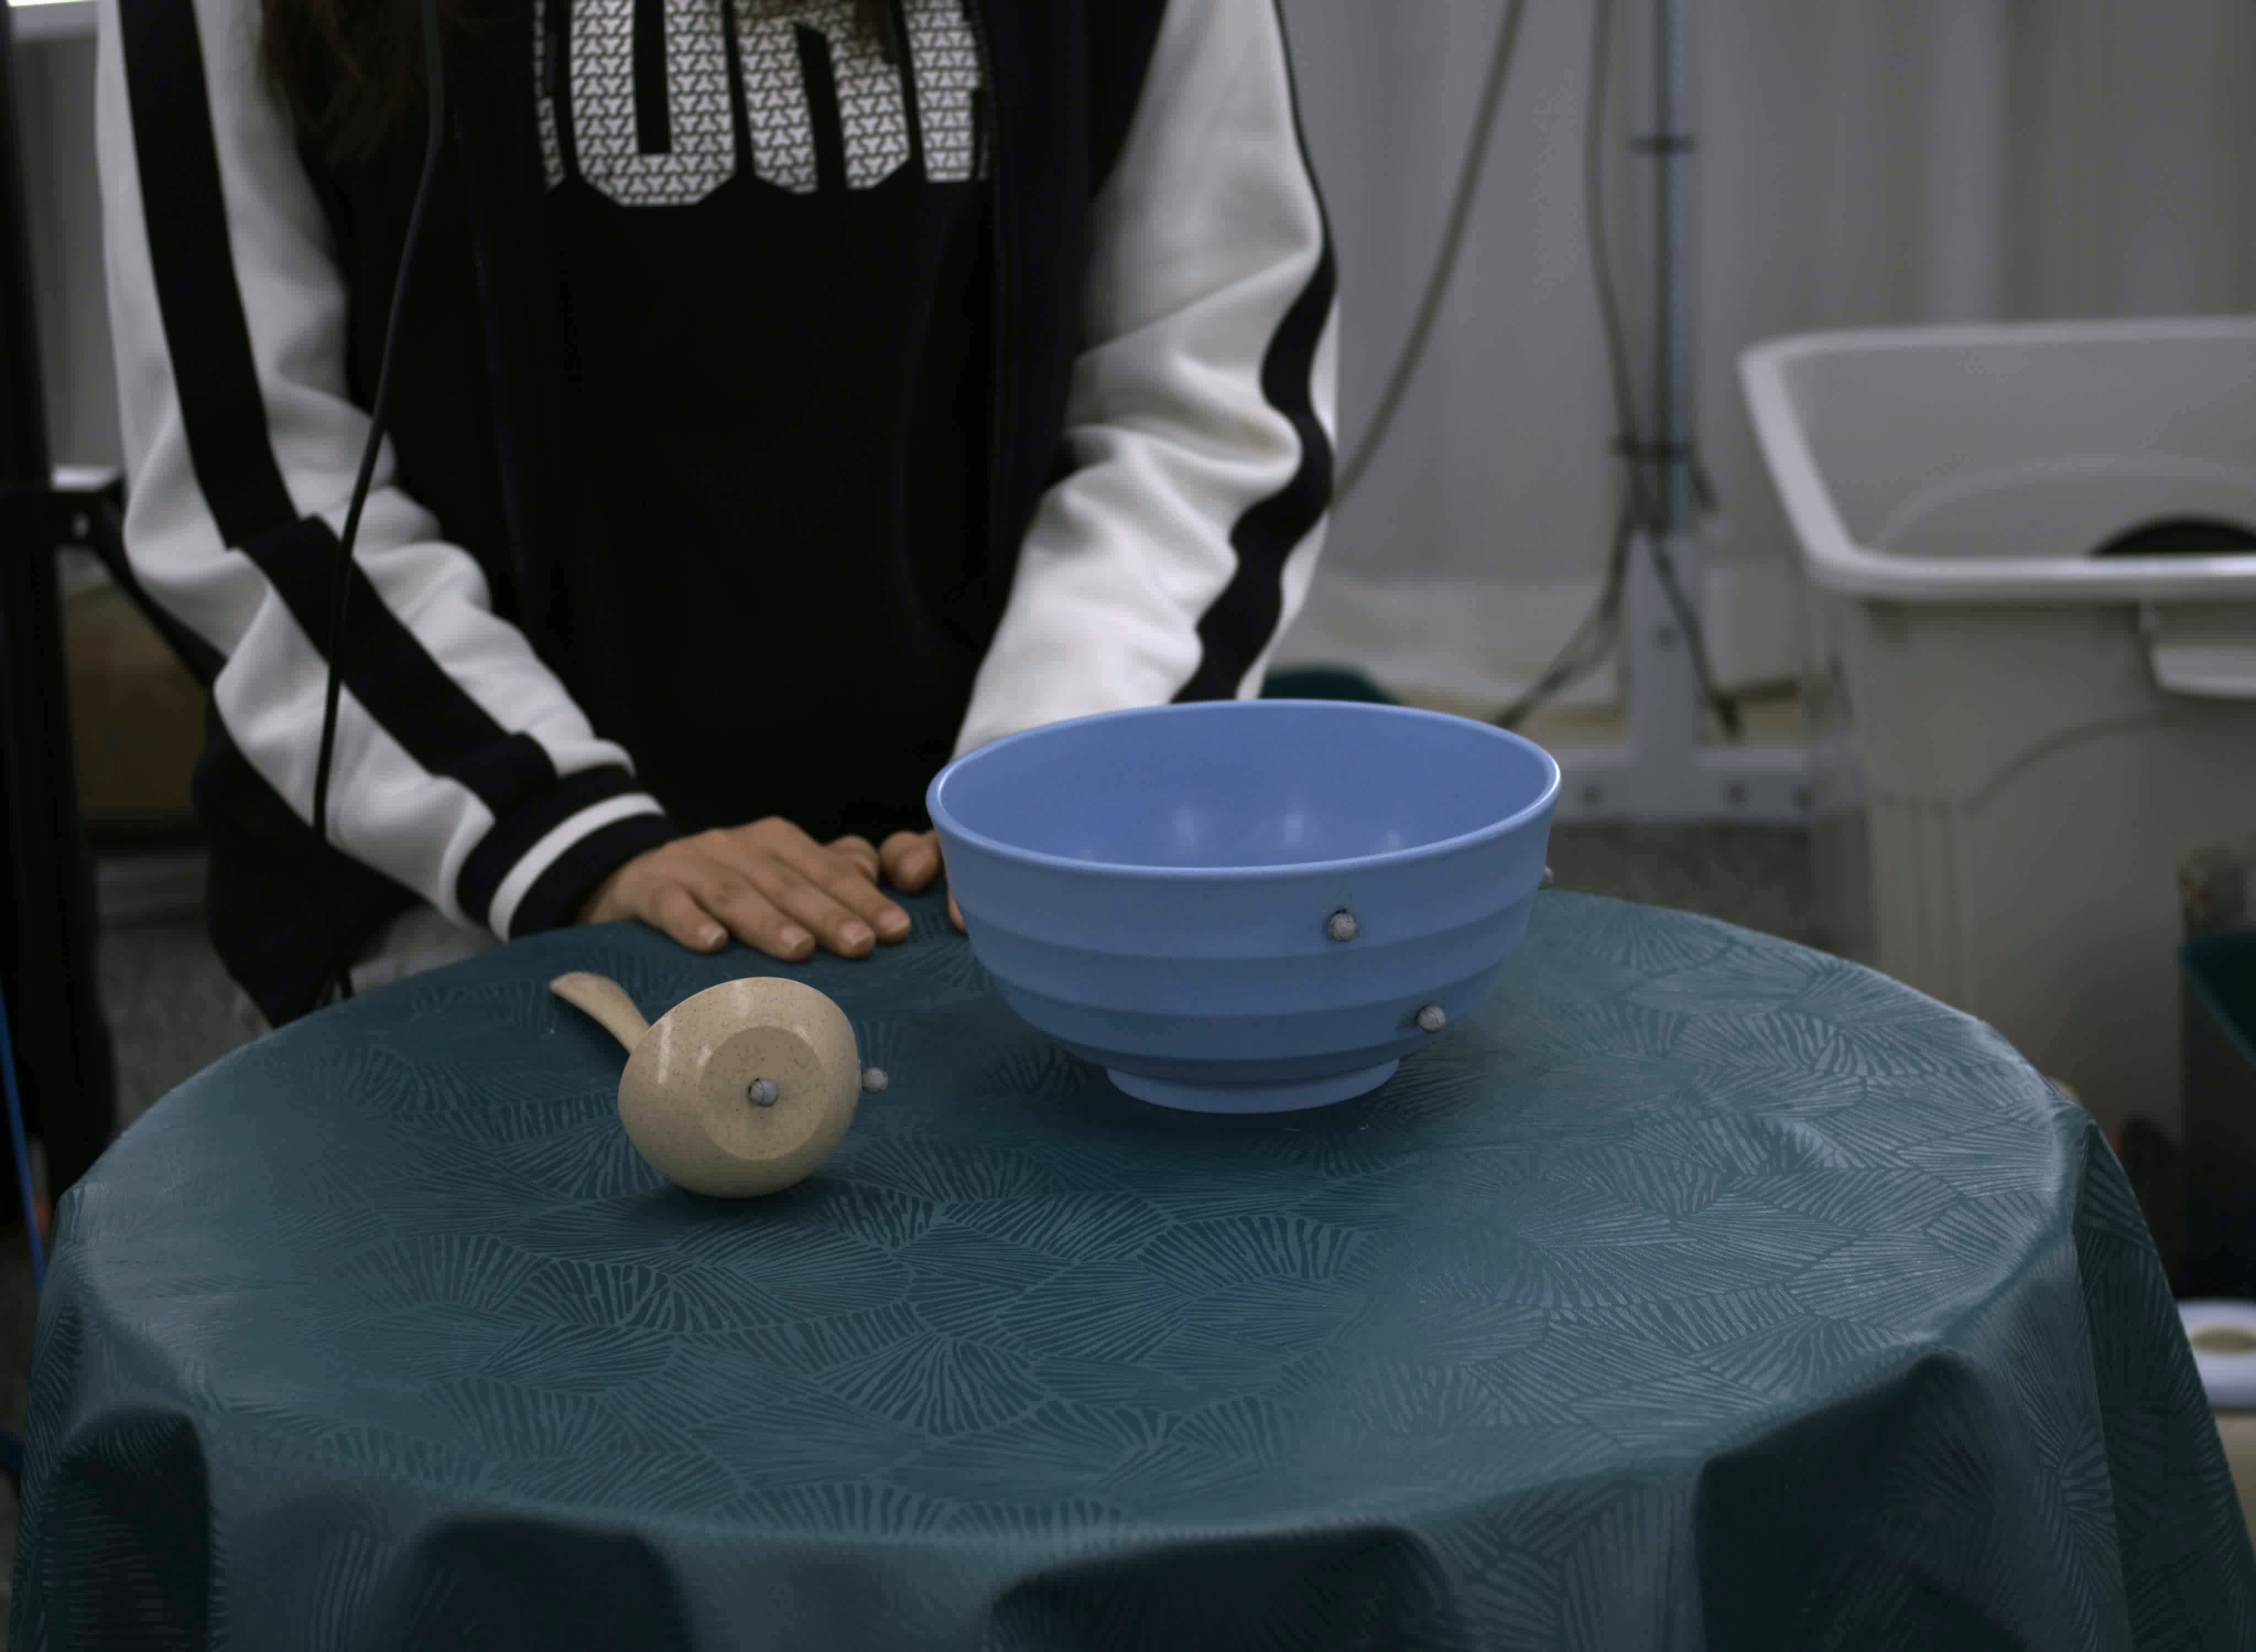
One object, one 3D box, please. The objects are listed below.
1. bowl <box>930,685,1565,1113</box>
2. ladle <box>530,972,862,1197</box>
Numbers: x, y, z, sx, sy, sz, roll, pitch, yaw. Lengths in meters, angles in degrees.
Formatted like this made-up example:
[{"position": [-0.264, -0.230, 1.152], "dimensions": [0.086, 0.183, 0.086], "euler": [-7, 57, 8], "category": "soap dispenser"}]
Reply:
[{"position": [0.037, 0.029, 1.652], "dimensions": [0.195, 0.095, 0.197], "euler": [-1, 18, -1], "category": "bowl"}, {"position": [-0.148, 0.050, 1.653], "dimensions": [0.071, 0.073, 0.259], "euler": [-6, 16, -19], "category": "ladle"}]
